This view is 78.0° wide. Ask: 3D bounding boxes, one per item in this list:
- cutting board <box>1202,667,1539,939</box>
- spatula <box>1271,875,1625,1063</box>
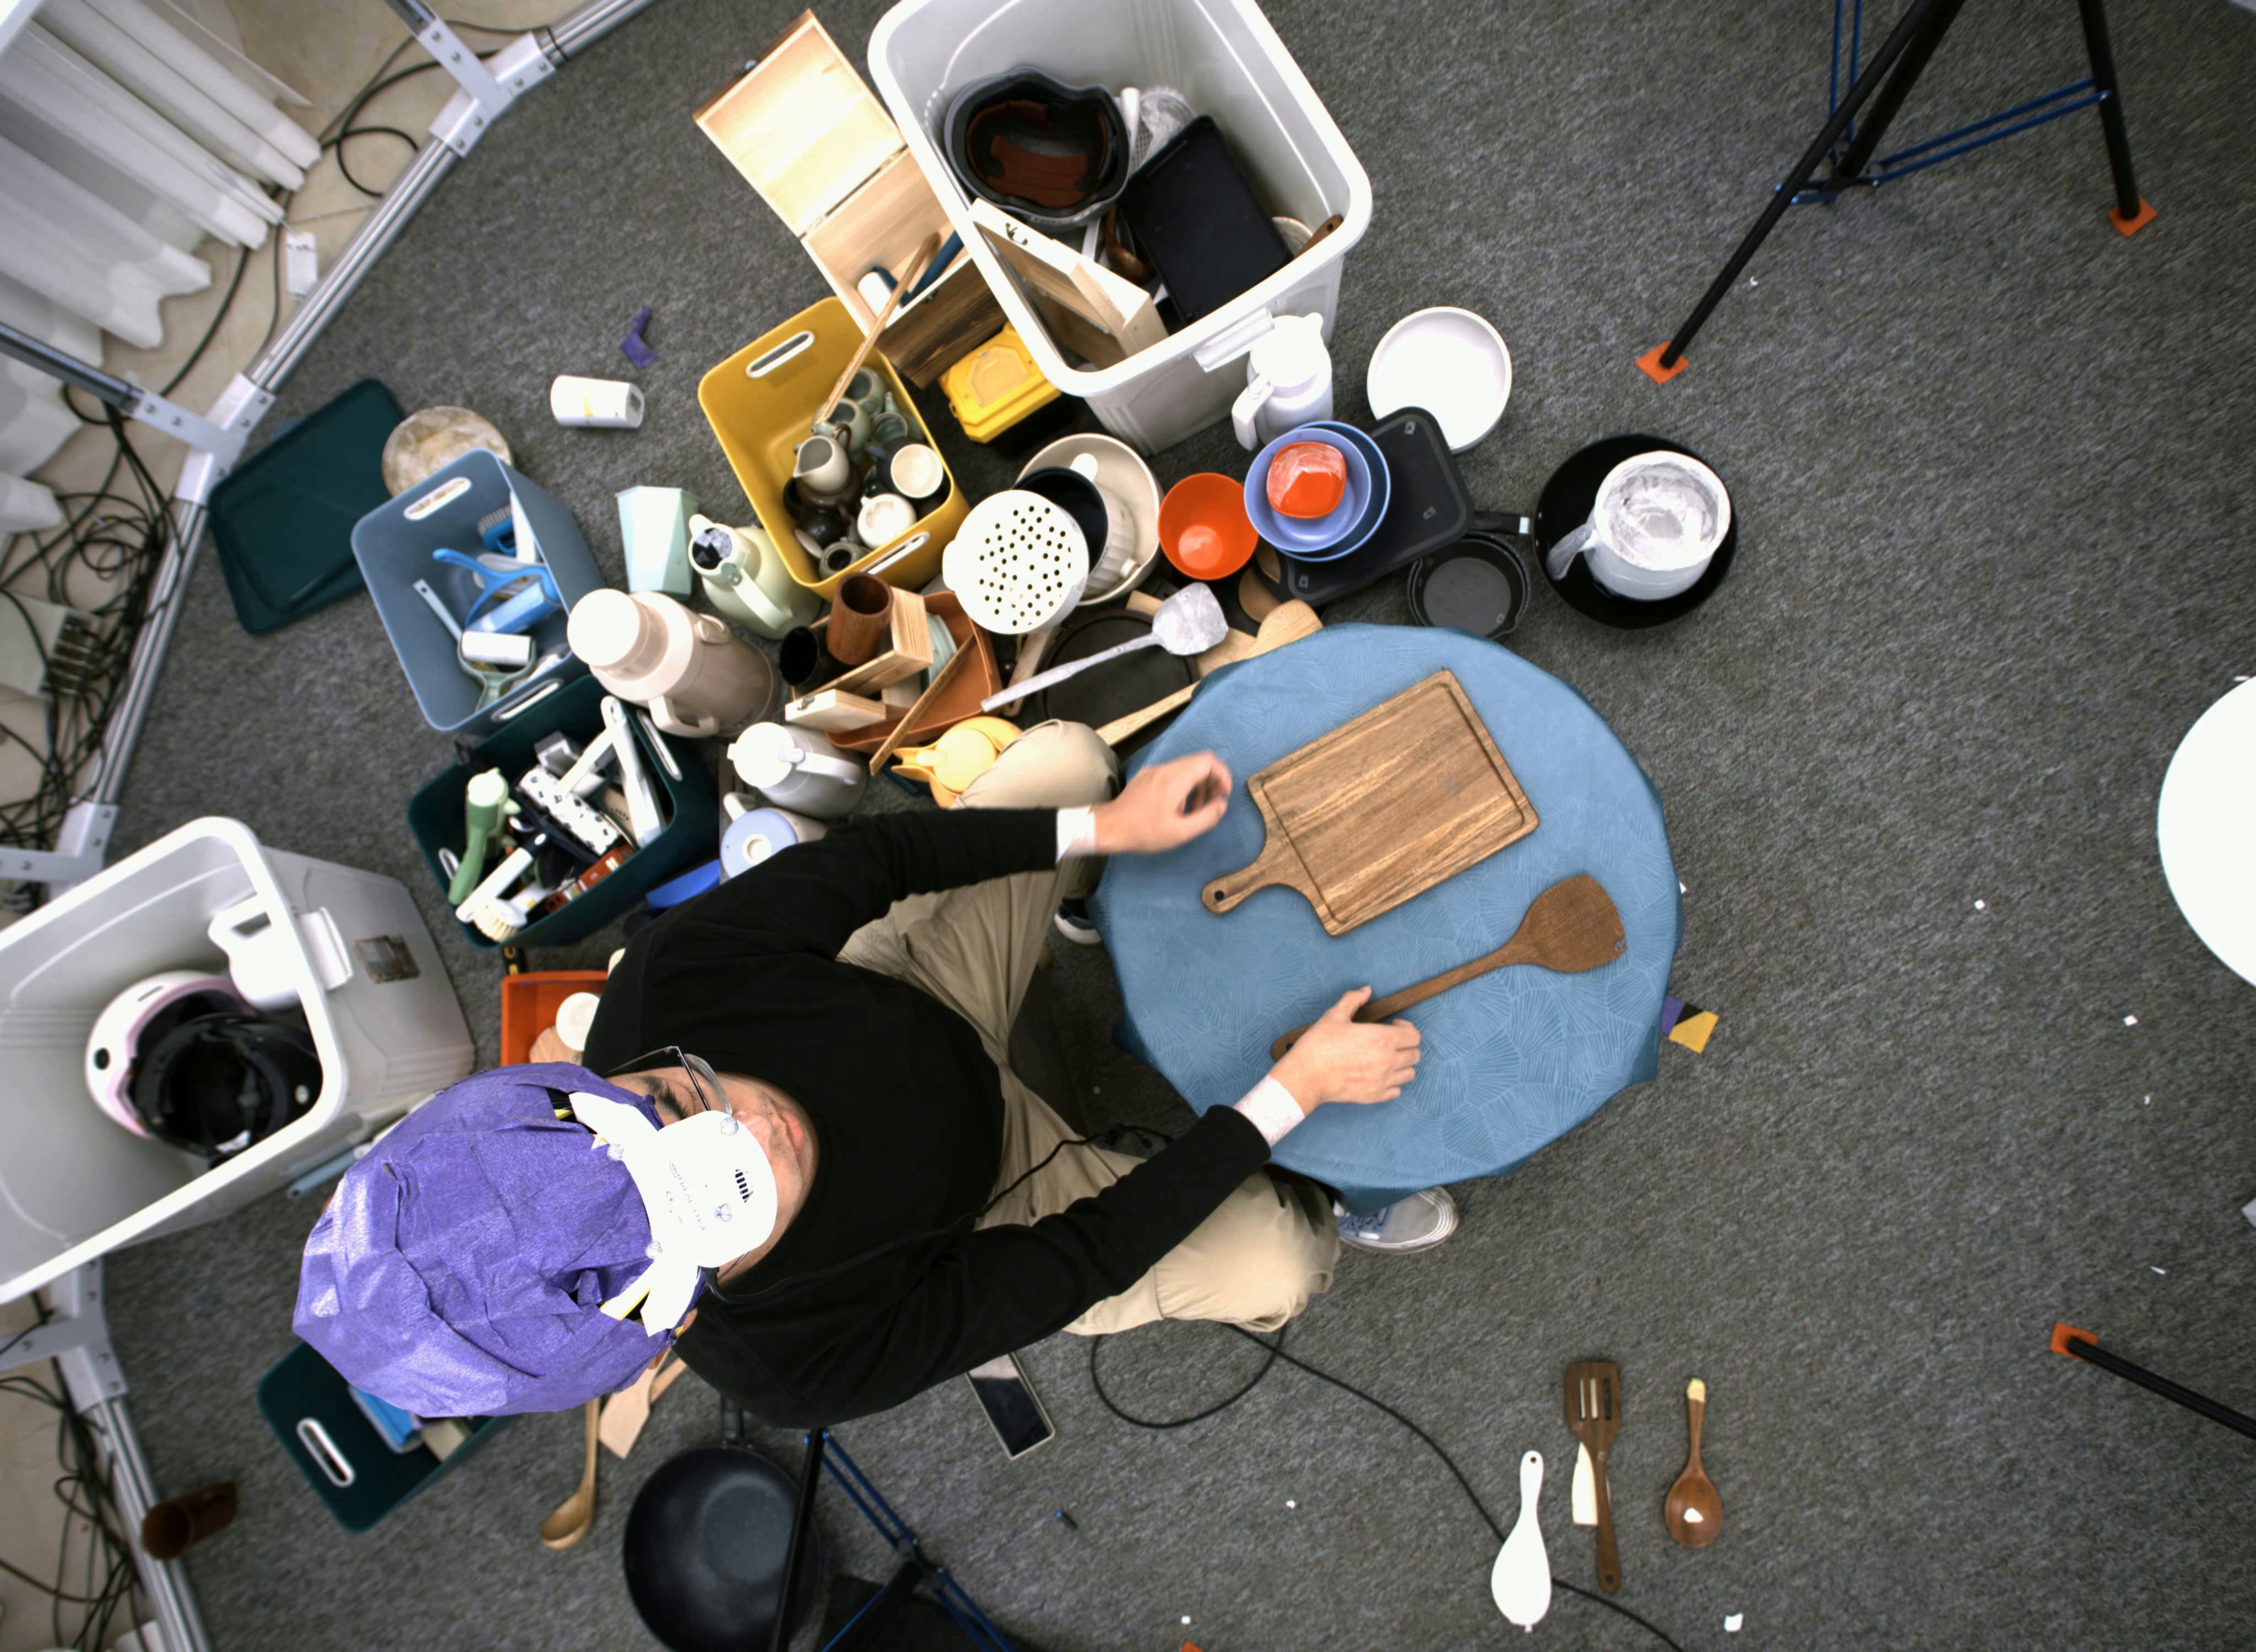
[{"bbox_3d":[0.233,-0.002,1.461,0.354,0.023,0.200,-30,82,8],"label":"cutting board"},{"bbox_3d":[0.326,0.163,1.437,0.388,0.016,0.095,-25,82,8],"label":"spatula"}]
